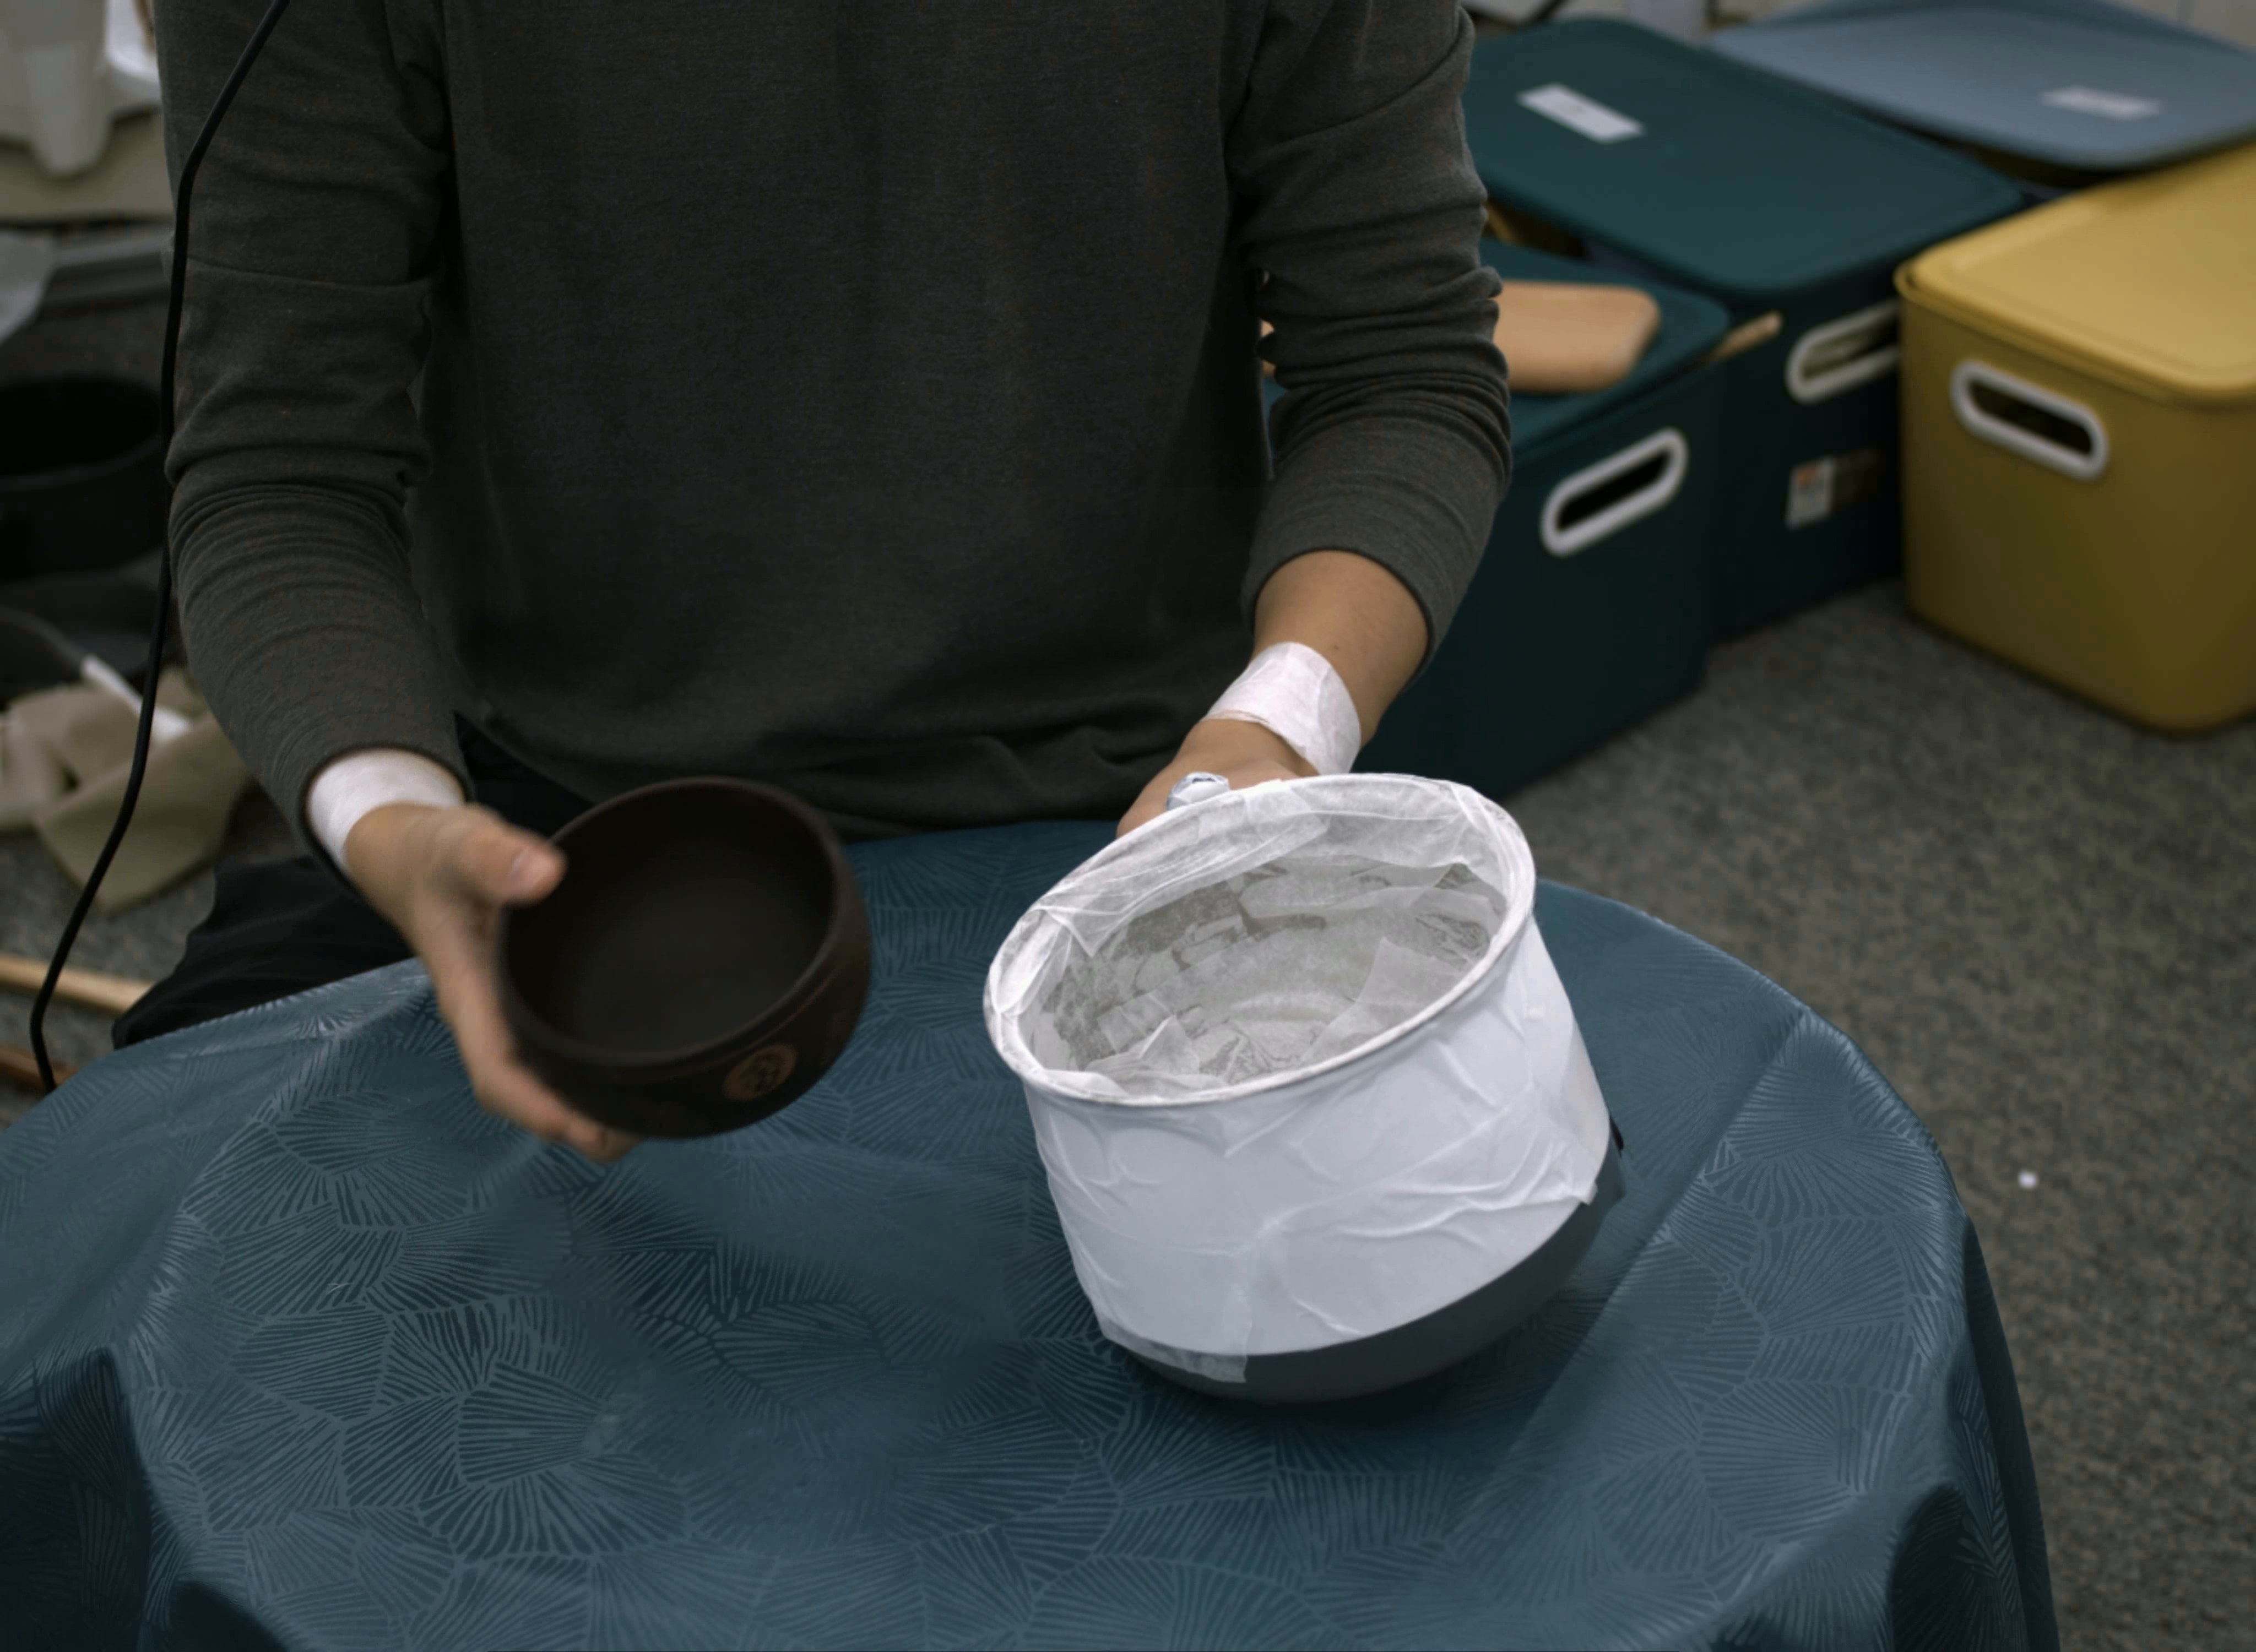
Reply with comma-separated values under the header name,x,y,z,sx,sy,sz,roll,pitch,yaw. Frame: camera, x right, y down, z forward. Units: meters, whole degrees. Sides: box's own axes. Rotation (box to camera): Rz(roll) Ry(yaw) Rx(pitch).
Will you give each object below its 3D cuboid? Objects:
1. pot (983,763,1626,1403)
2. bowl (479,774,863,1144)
name,x,y,z,sx,sy,sz,roll,pitch,yaw
pot,0.051,0.071,1.781,0.178,0.135,0.236,-19,29,-3
bowl,-0.137,0.050,1.756,0.117,0.069,0.120,-9,48,11
